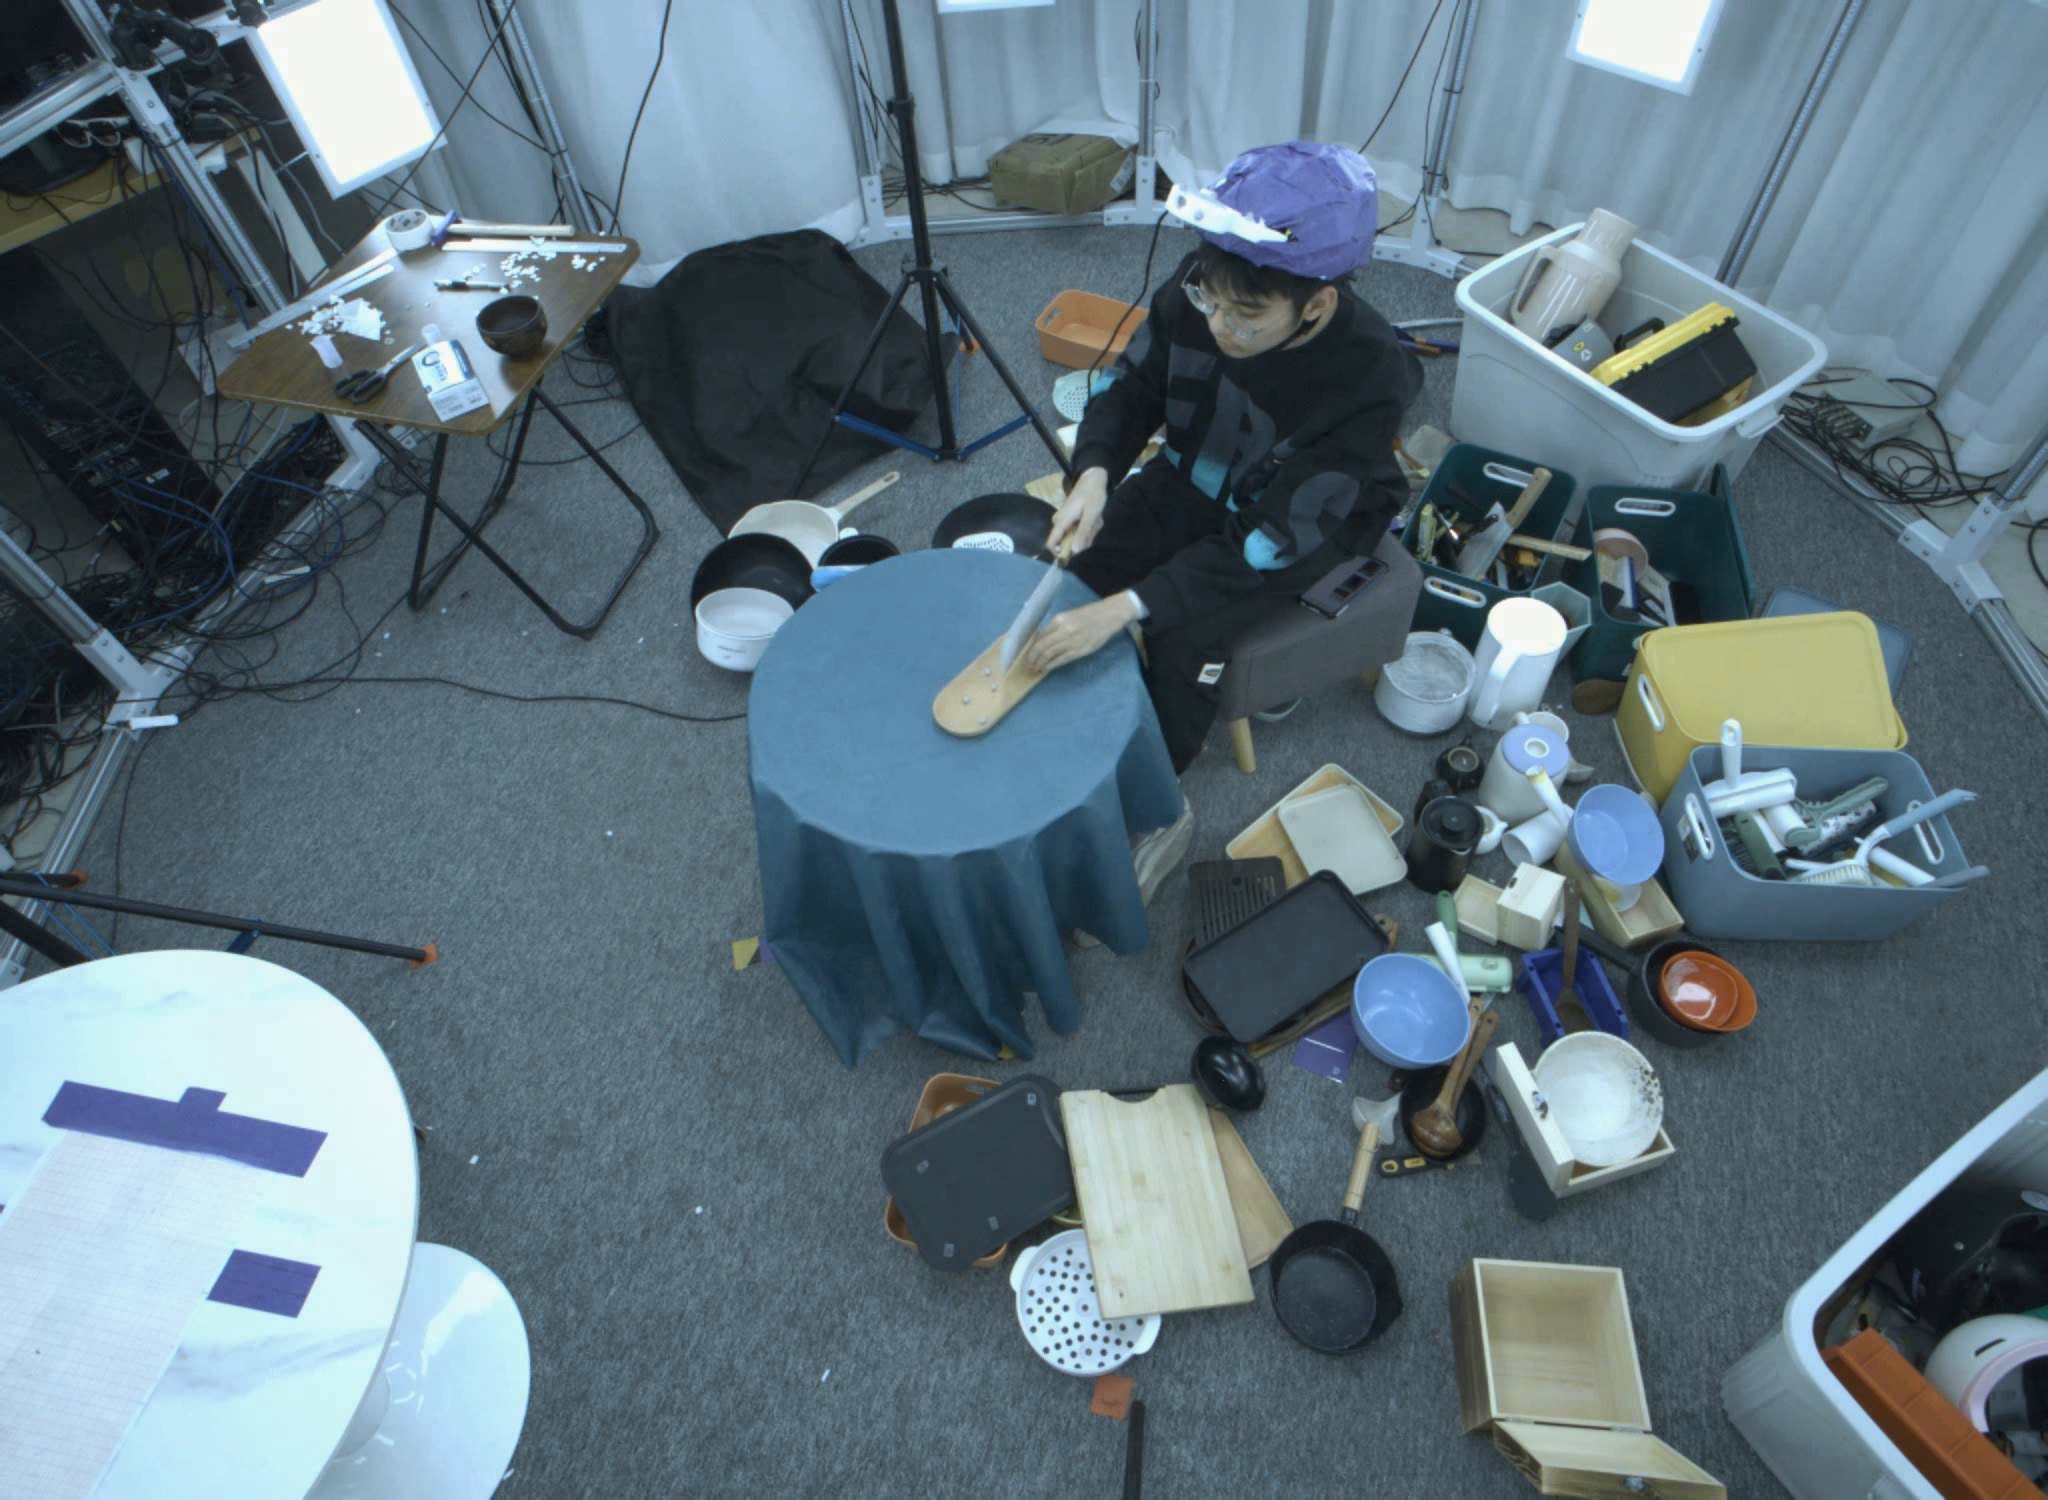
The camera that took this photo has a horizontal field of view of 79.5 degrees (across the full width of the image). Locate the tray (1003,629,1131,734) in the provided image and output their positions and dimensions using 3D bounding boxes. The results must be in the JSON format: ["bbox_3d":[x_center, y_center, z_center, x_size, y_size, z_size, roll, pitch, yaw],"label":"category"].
[{"bbox_3d":[0.066,-0.104,1.847,0.100,0.020,0.233,39,64,24],"label":"tray"}]

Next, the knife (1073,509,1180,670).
[{"bbox_3d":[0.154,-0.242,1.868,0.021,0.094,0.306,28,65,17],"label":"knife"}]
